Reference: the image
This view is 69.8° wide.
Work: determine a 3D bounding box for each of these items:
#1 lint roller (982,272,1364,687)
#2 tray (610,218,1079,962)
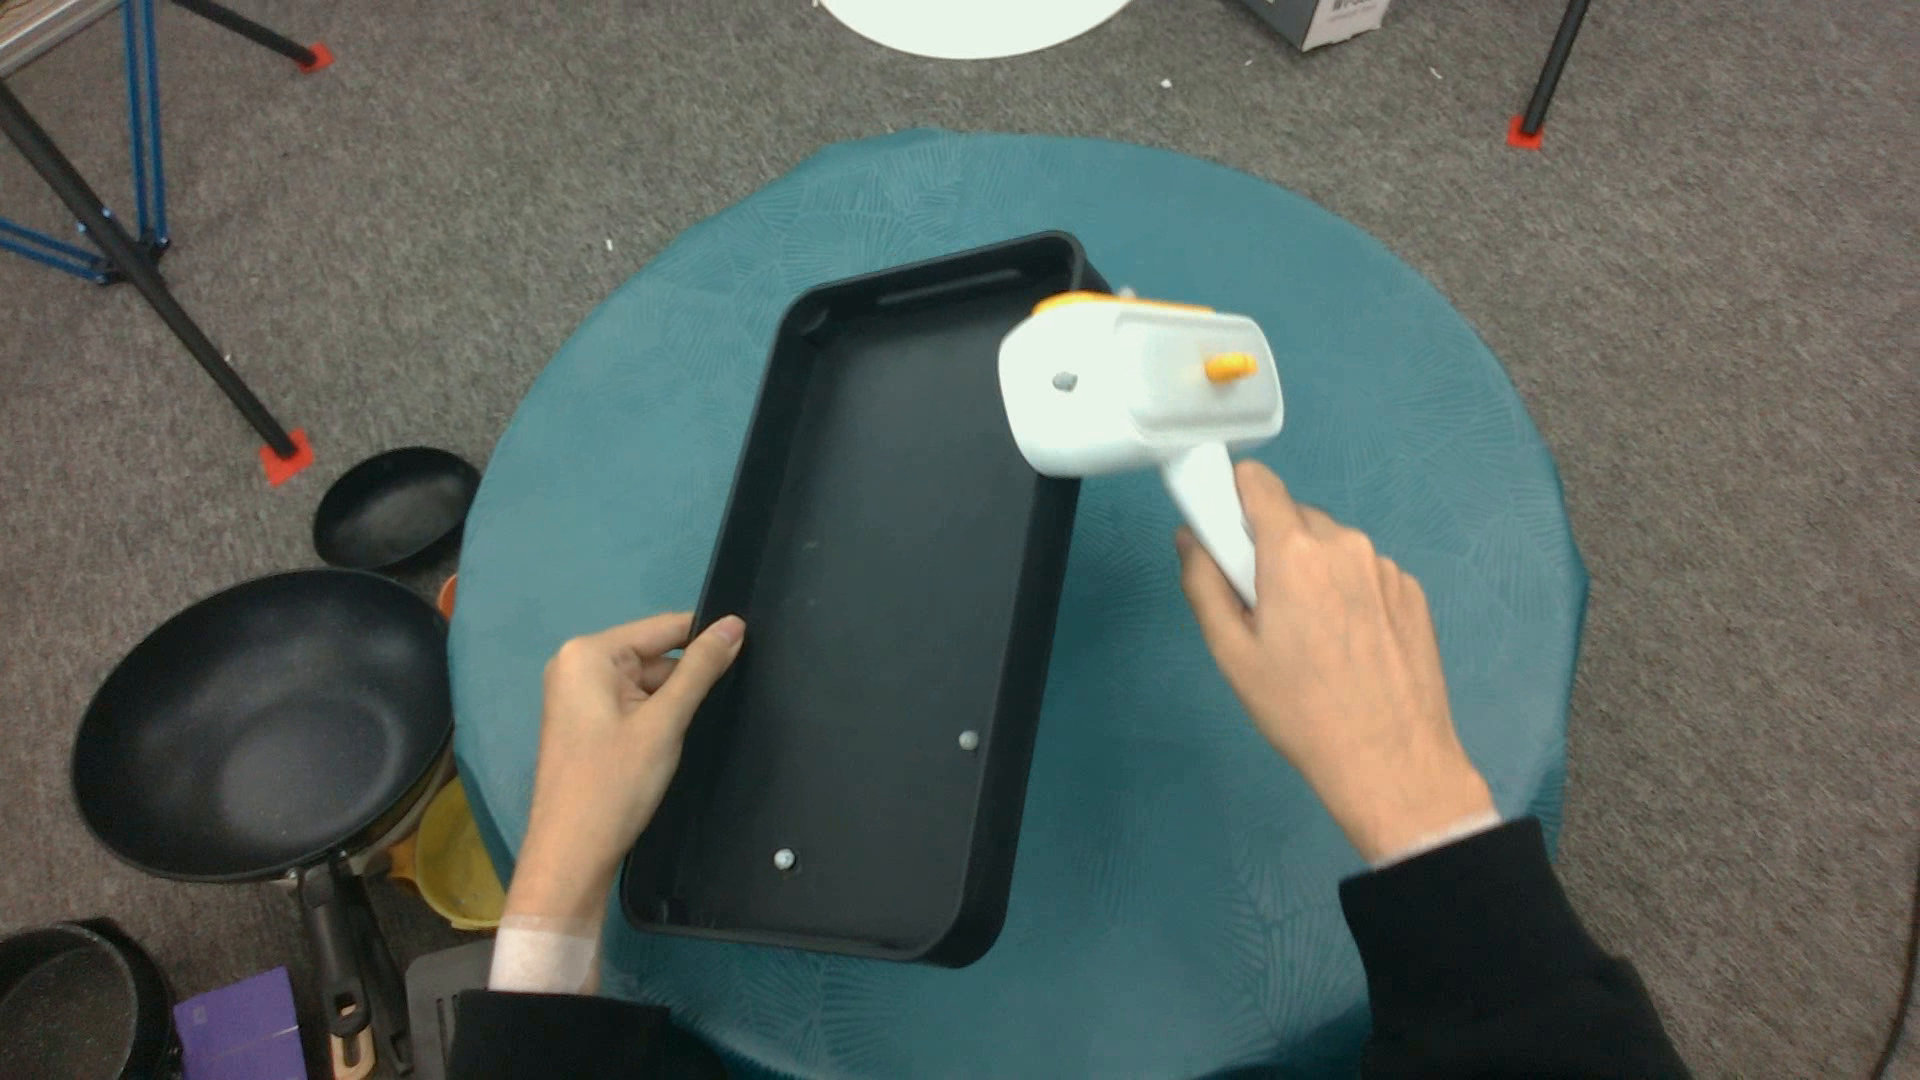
[{"bbox_3d":[0.101,-0.023,0.569,0.074,0.193,0.192,-25,87,27],"label":"lint roller"},{"bbox_3d":[-0.046,0.016,0.603,0.184,0.037,0.319,-7,63,35],"label":"tray"}]
